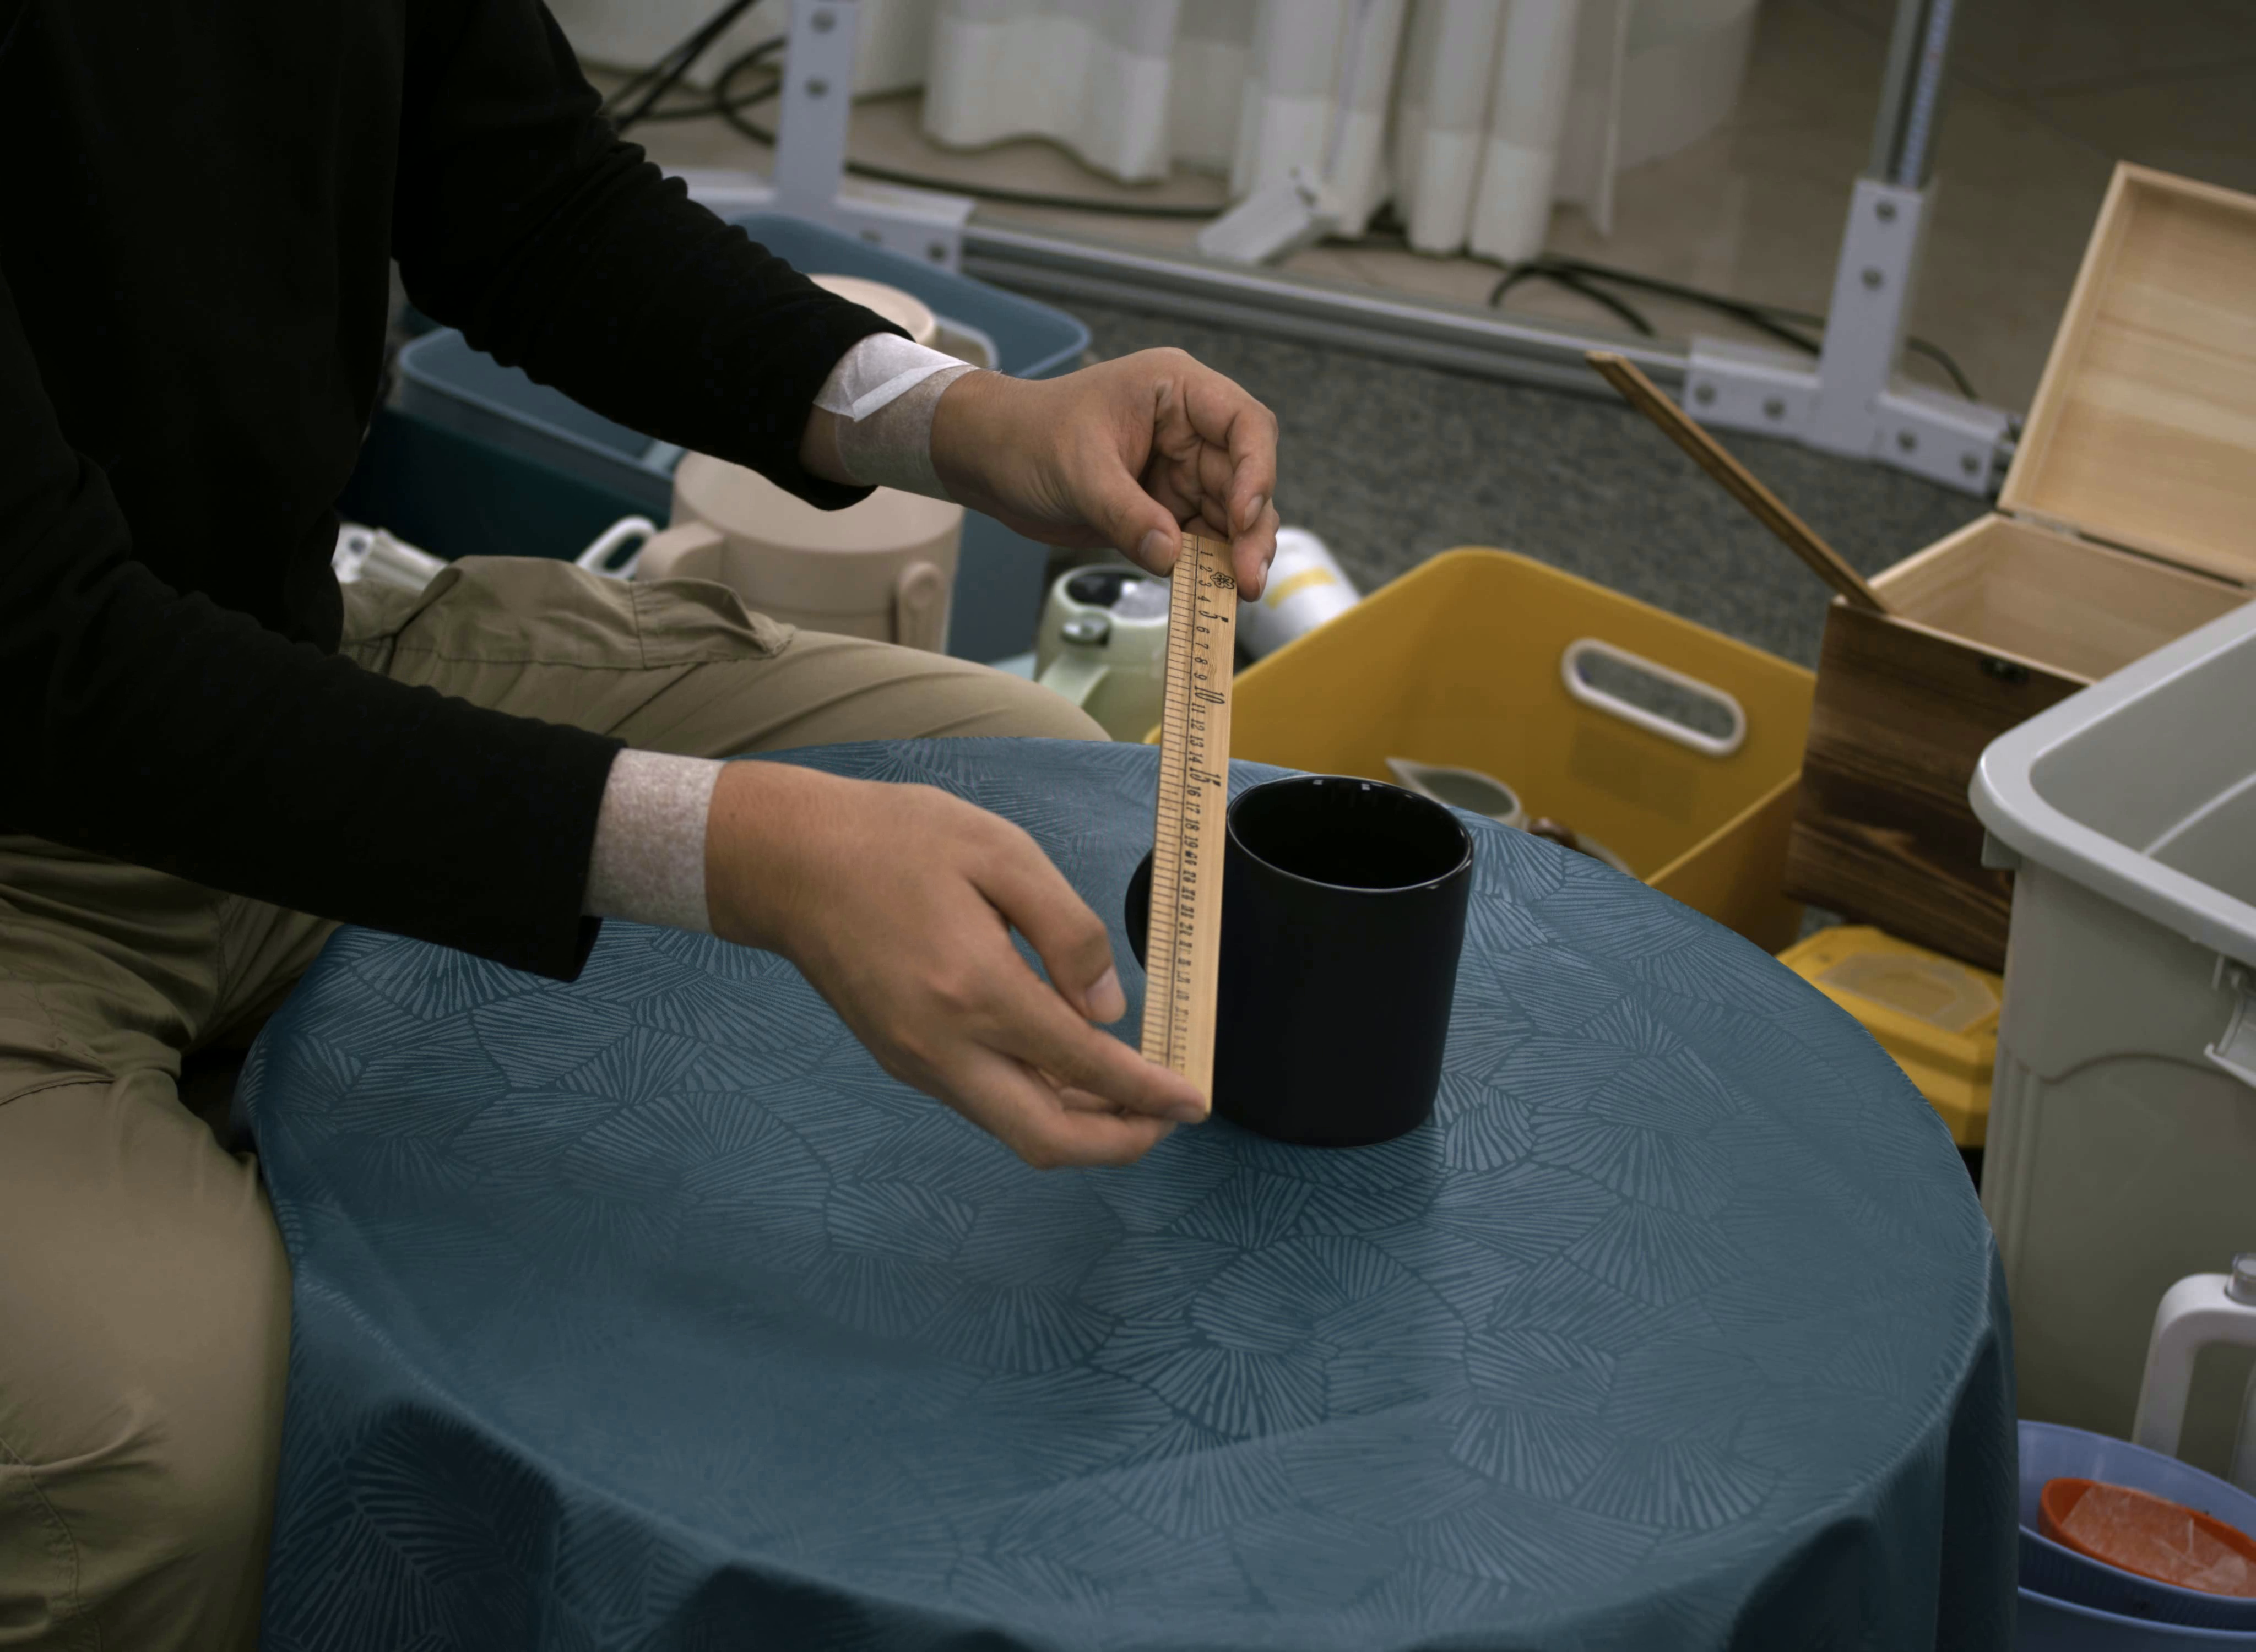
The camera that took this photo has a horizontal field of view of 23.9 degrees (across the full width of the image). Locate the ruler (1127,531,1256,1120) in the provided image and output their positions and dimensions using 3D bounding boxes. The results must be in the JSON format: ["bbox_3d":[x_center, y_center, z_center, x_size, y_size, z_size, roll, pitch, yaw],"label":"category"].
[{"bbox_3d":[0.024,-0.010,1.829,0.027,0.022,0.334,21,34,-9],"label":"ruler"}]

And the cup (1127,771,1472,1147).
[{"bbox_3d":[0.055,0.041,1.863,0.124,0.105,0.088,20,32,23],"label":"cup"}]
